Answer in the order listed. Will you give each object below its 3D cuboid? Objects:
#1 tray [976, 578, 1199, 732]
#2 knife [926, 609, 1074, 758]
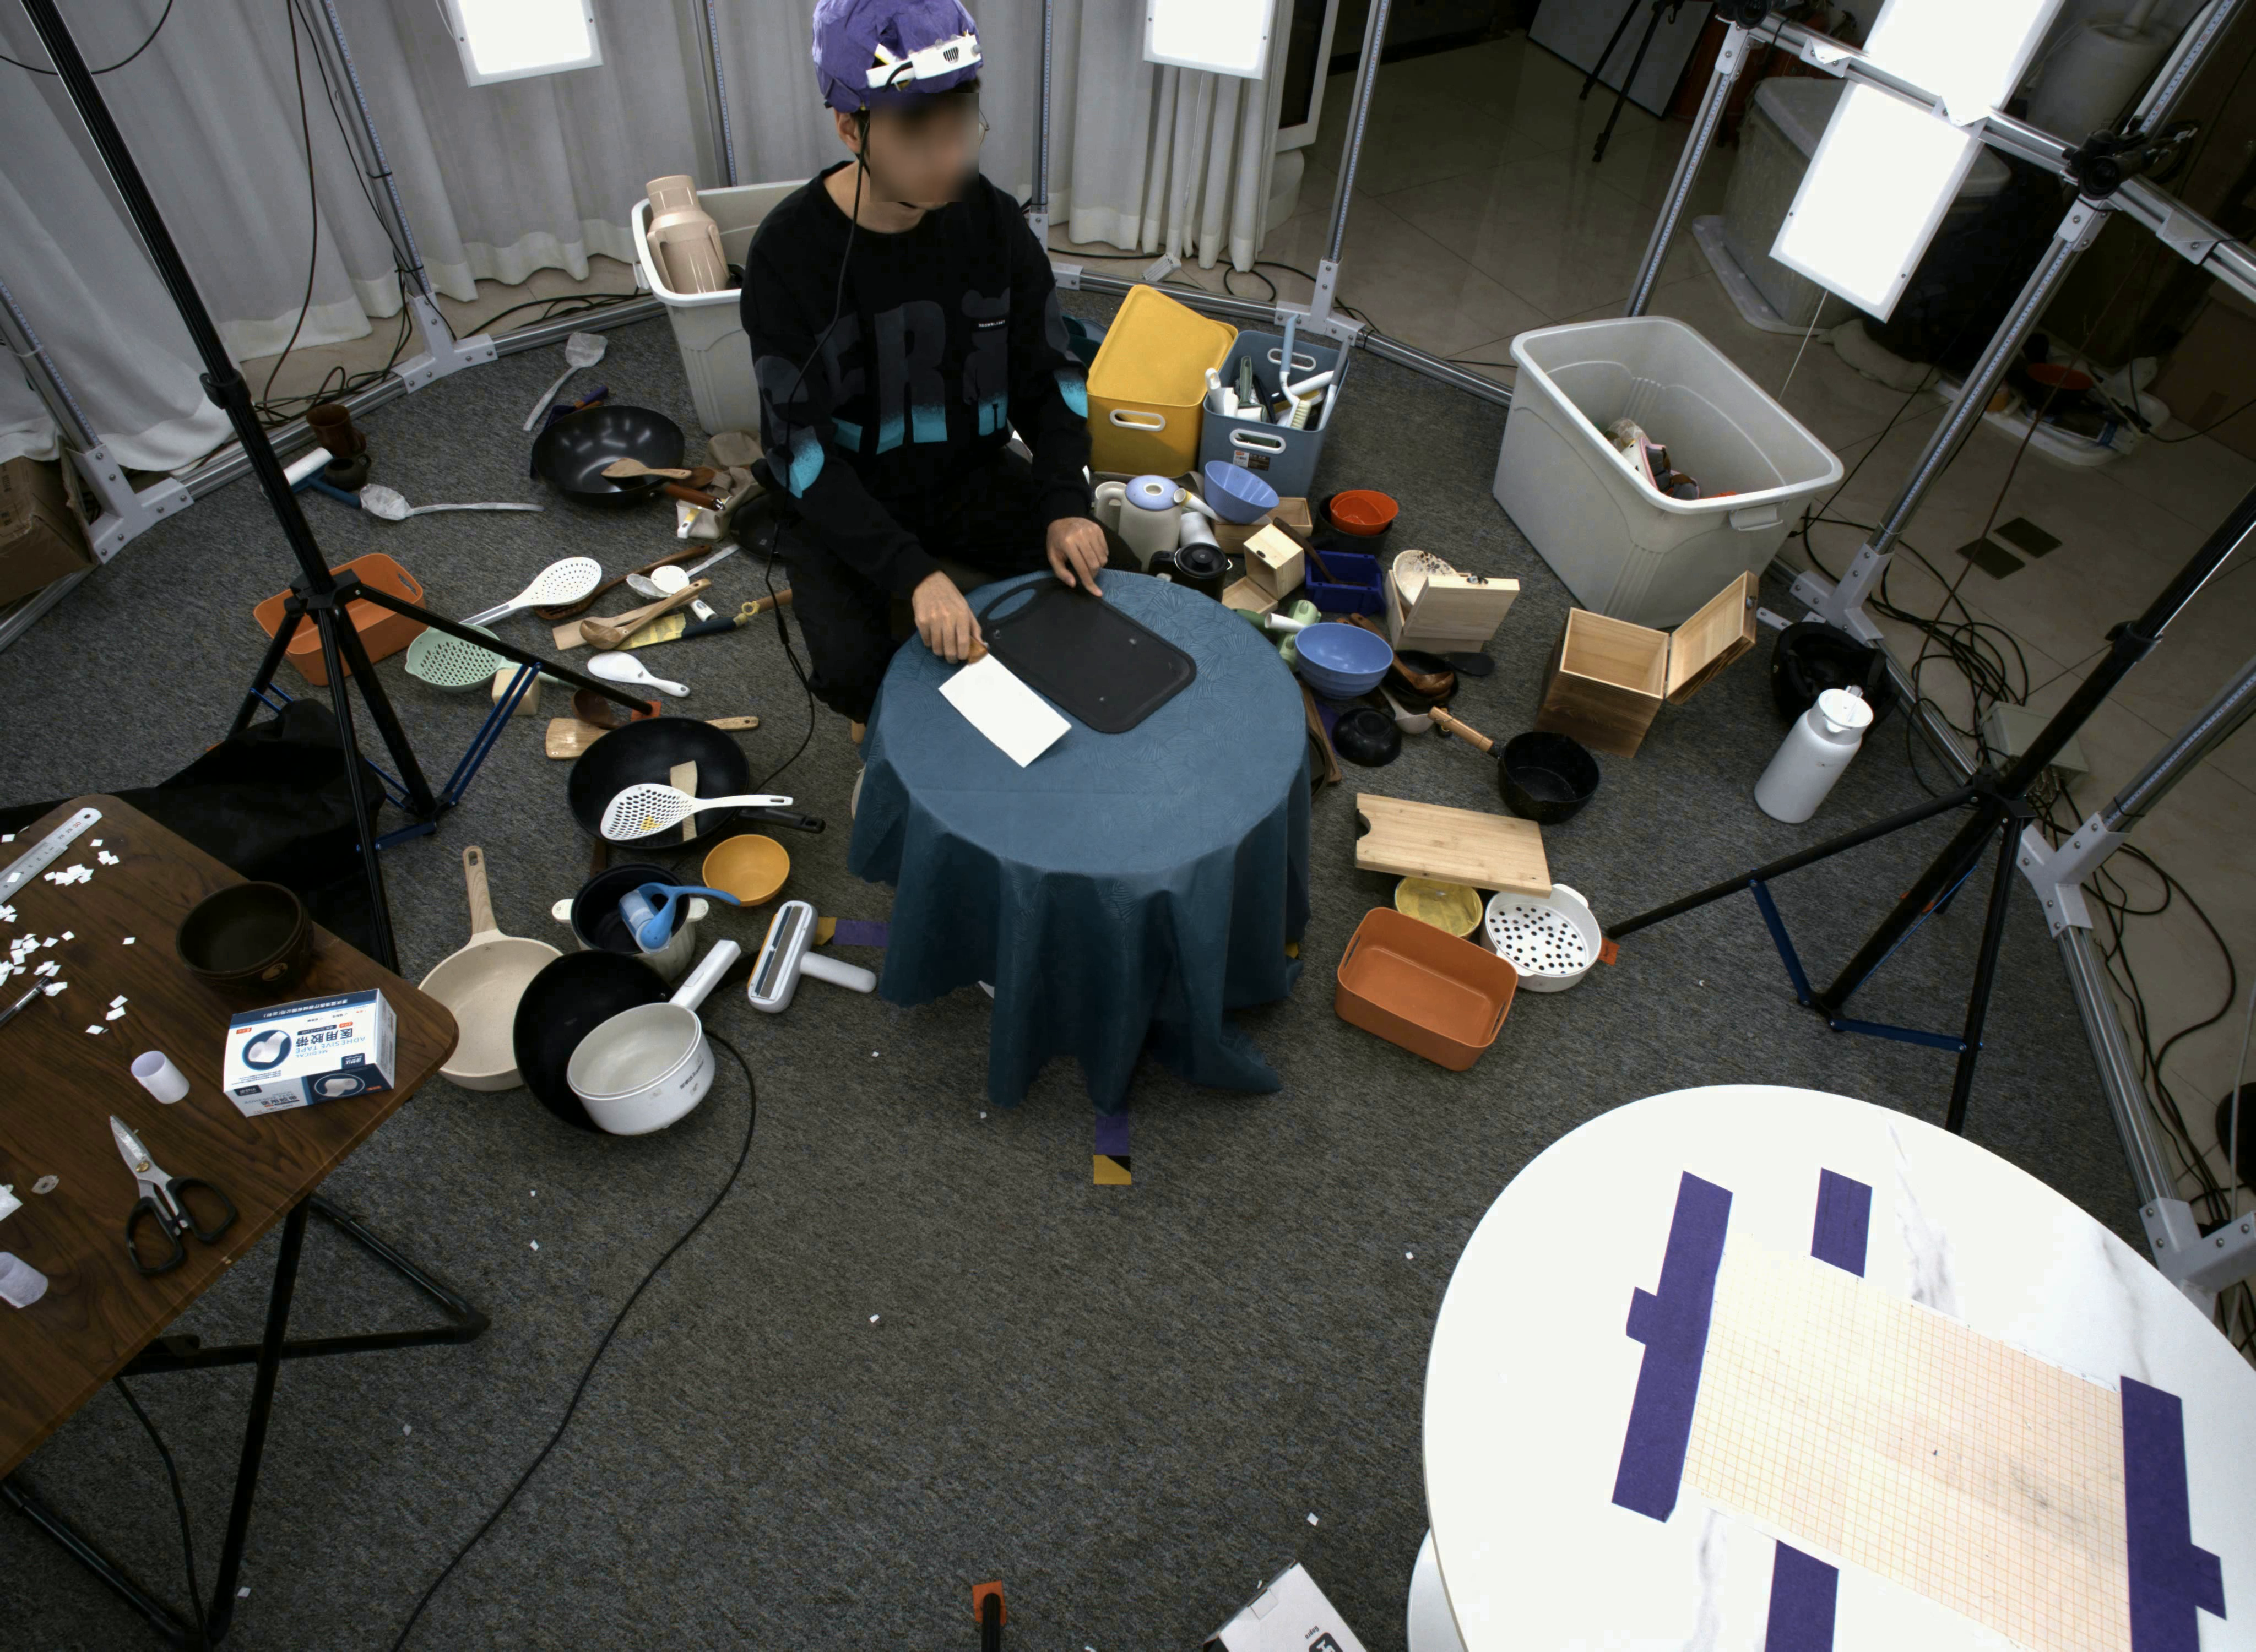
[{"bbox_3d":[-0.067,-0.262,1.887,0.330,0.009,0.213,37,56,25],"label":"tray"},{"bbox_3d":[-0.203,-0.200,1.810,0.093,0.020,0.311,-39,62,-15],"label":"knife"}]
